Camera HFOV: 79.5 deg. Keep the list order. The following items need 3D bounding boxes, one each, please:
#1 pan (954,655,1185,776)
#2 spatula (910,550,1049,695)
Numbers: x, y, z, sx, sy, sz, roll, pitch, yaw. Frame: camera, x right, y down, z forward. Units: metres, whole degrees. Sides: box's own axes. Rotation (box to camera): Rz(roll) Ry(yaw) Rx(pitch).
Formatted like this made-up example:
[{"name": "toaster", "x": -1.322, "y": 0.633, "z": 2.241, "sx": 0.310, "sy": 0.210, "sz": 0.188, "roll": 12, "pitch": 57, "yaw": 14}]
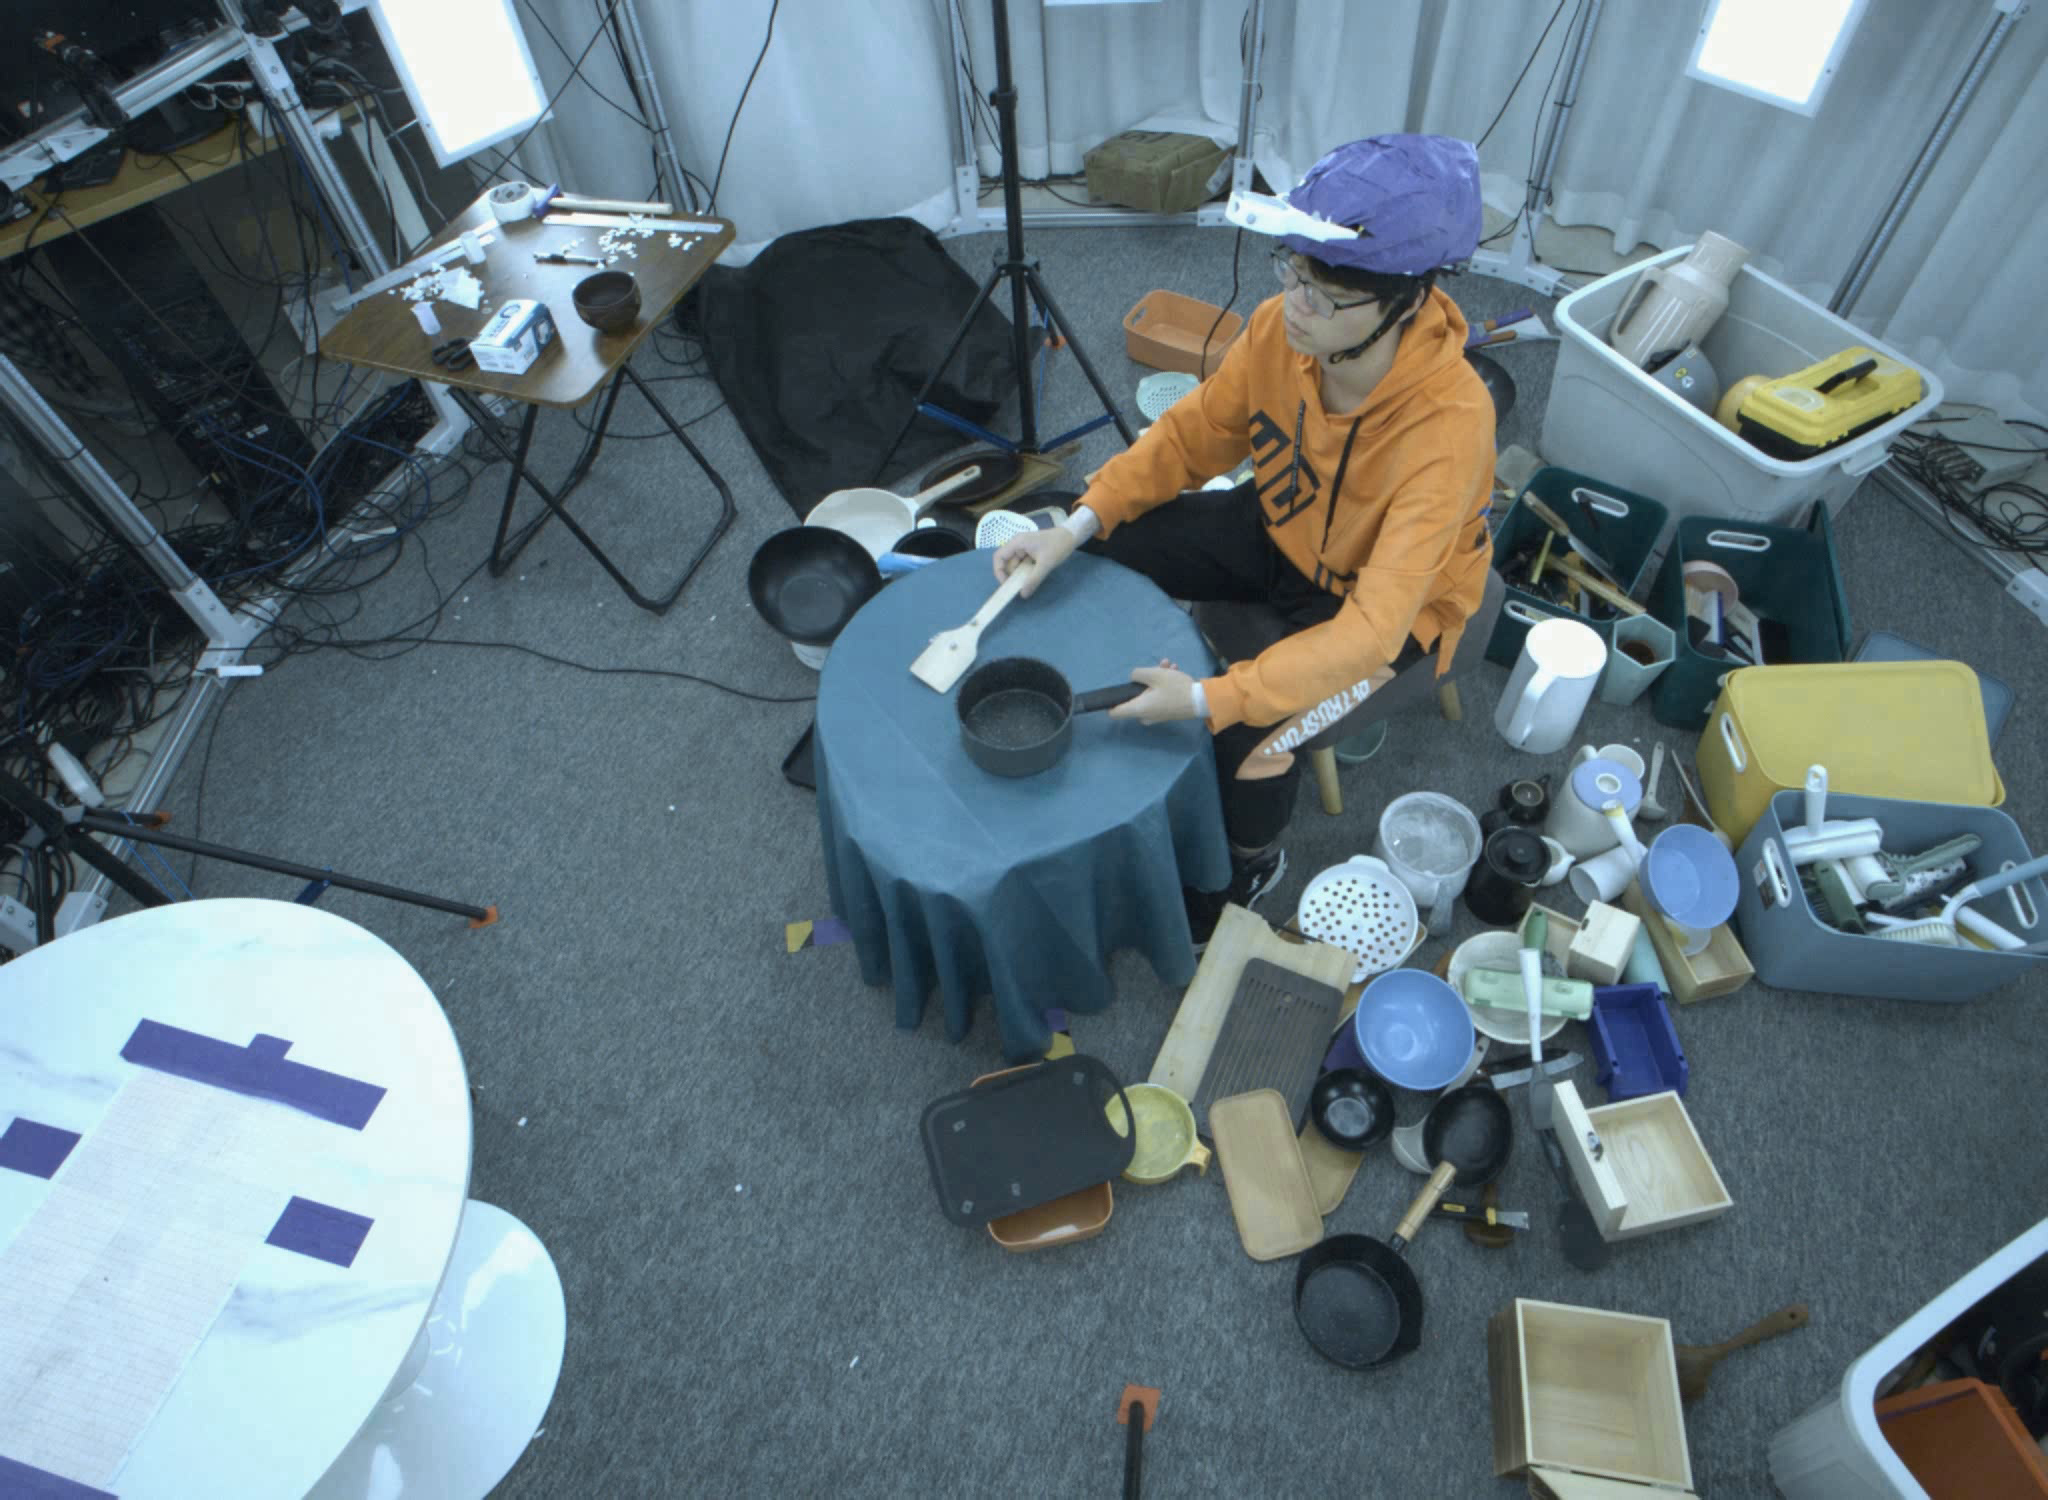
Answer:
[{"name": "pan", "x": 0.067, "y": -0.056, "z": 1.773, "sx": 0.329, "sy": 0.087, "sz": 0.170, "roll": -5, "pitch": 56, "yaw": -1}, {"name": "spatula", "x": -0.060, "y": -0.207, "z": 1.900, "sx": 0.071, "sy": 0.011, "sz": 0.294, "roll": 37, "pitch": 72, "yaw": 11}]
